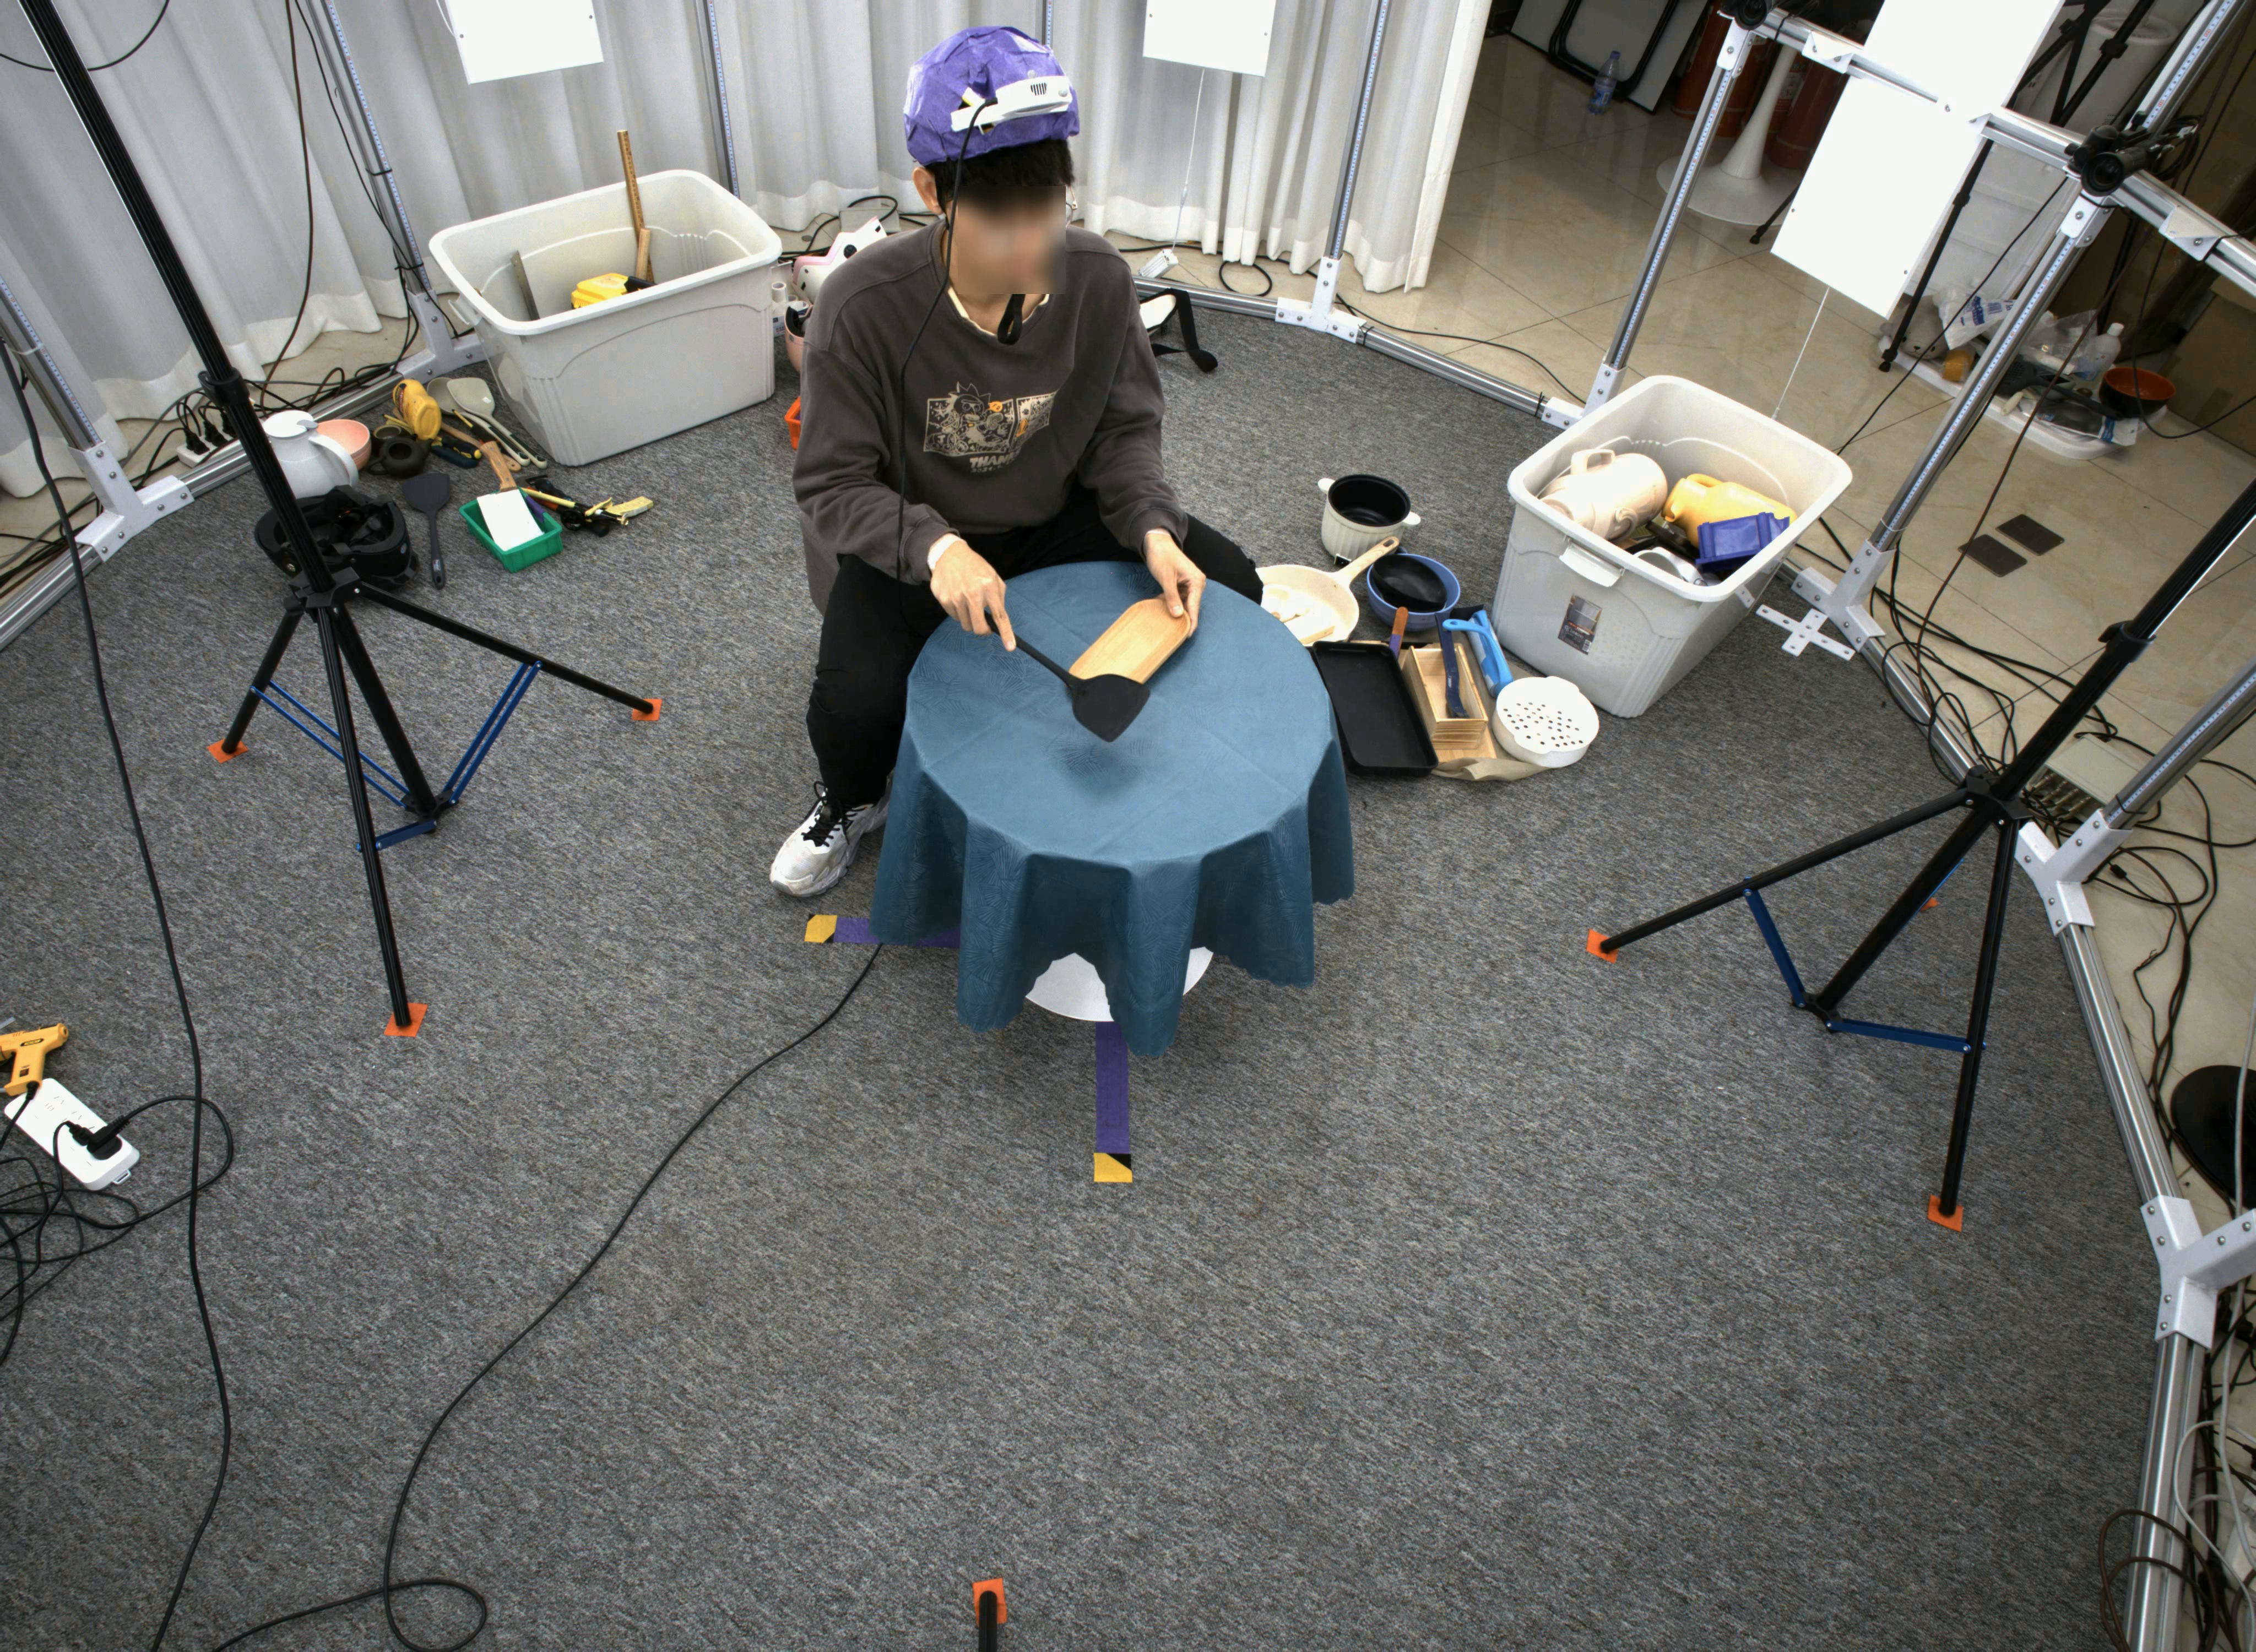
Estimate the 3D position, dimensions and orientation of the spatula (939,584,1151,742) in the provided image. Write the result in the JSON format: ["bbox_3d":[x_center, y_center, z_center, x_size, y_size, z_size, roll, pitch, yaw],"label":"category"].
[{"bbox_3d":[-0.122,-0.234,1.725,0.327,0.040,0.101,37,72,6],"label":"spatula"}]

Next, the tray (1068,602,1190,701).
[{"bbox_3d":[0.003,-0.248,1.860,0.103,0.020,0.234,28,58,23],"label":"tray"}]
